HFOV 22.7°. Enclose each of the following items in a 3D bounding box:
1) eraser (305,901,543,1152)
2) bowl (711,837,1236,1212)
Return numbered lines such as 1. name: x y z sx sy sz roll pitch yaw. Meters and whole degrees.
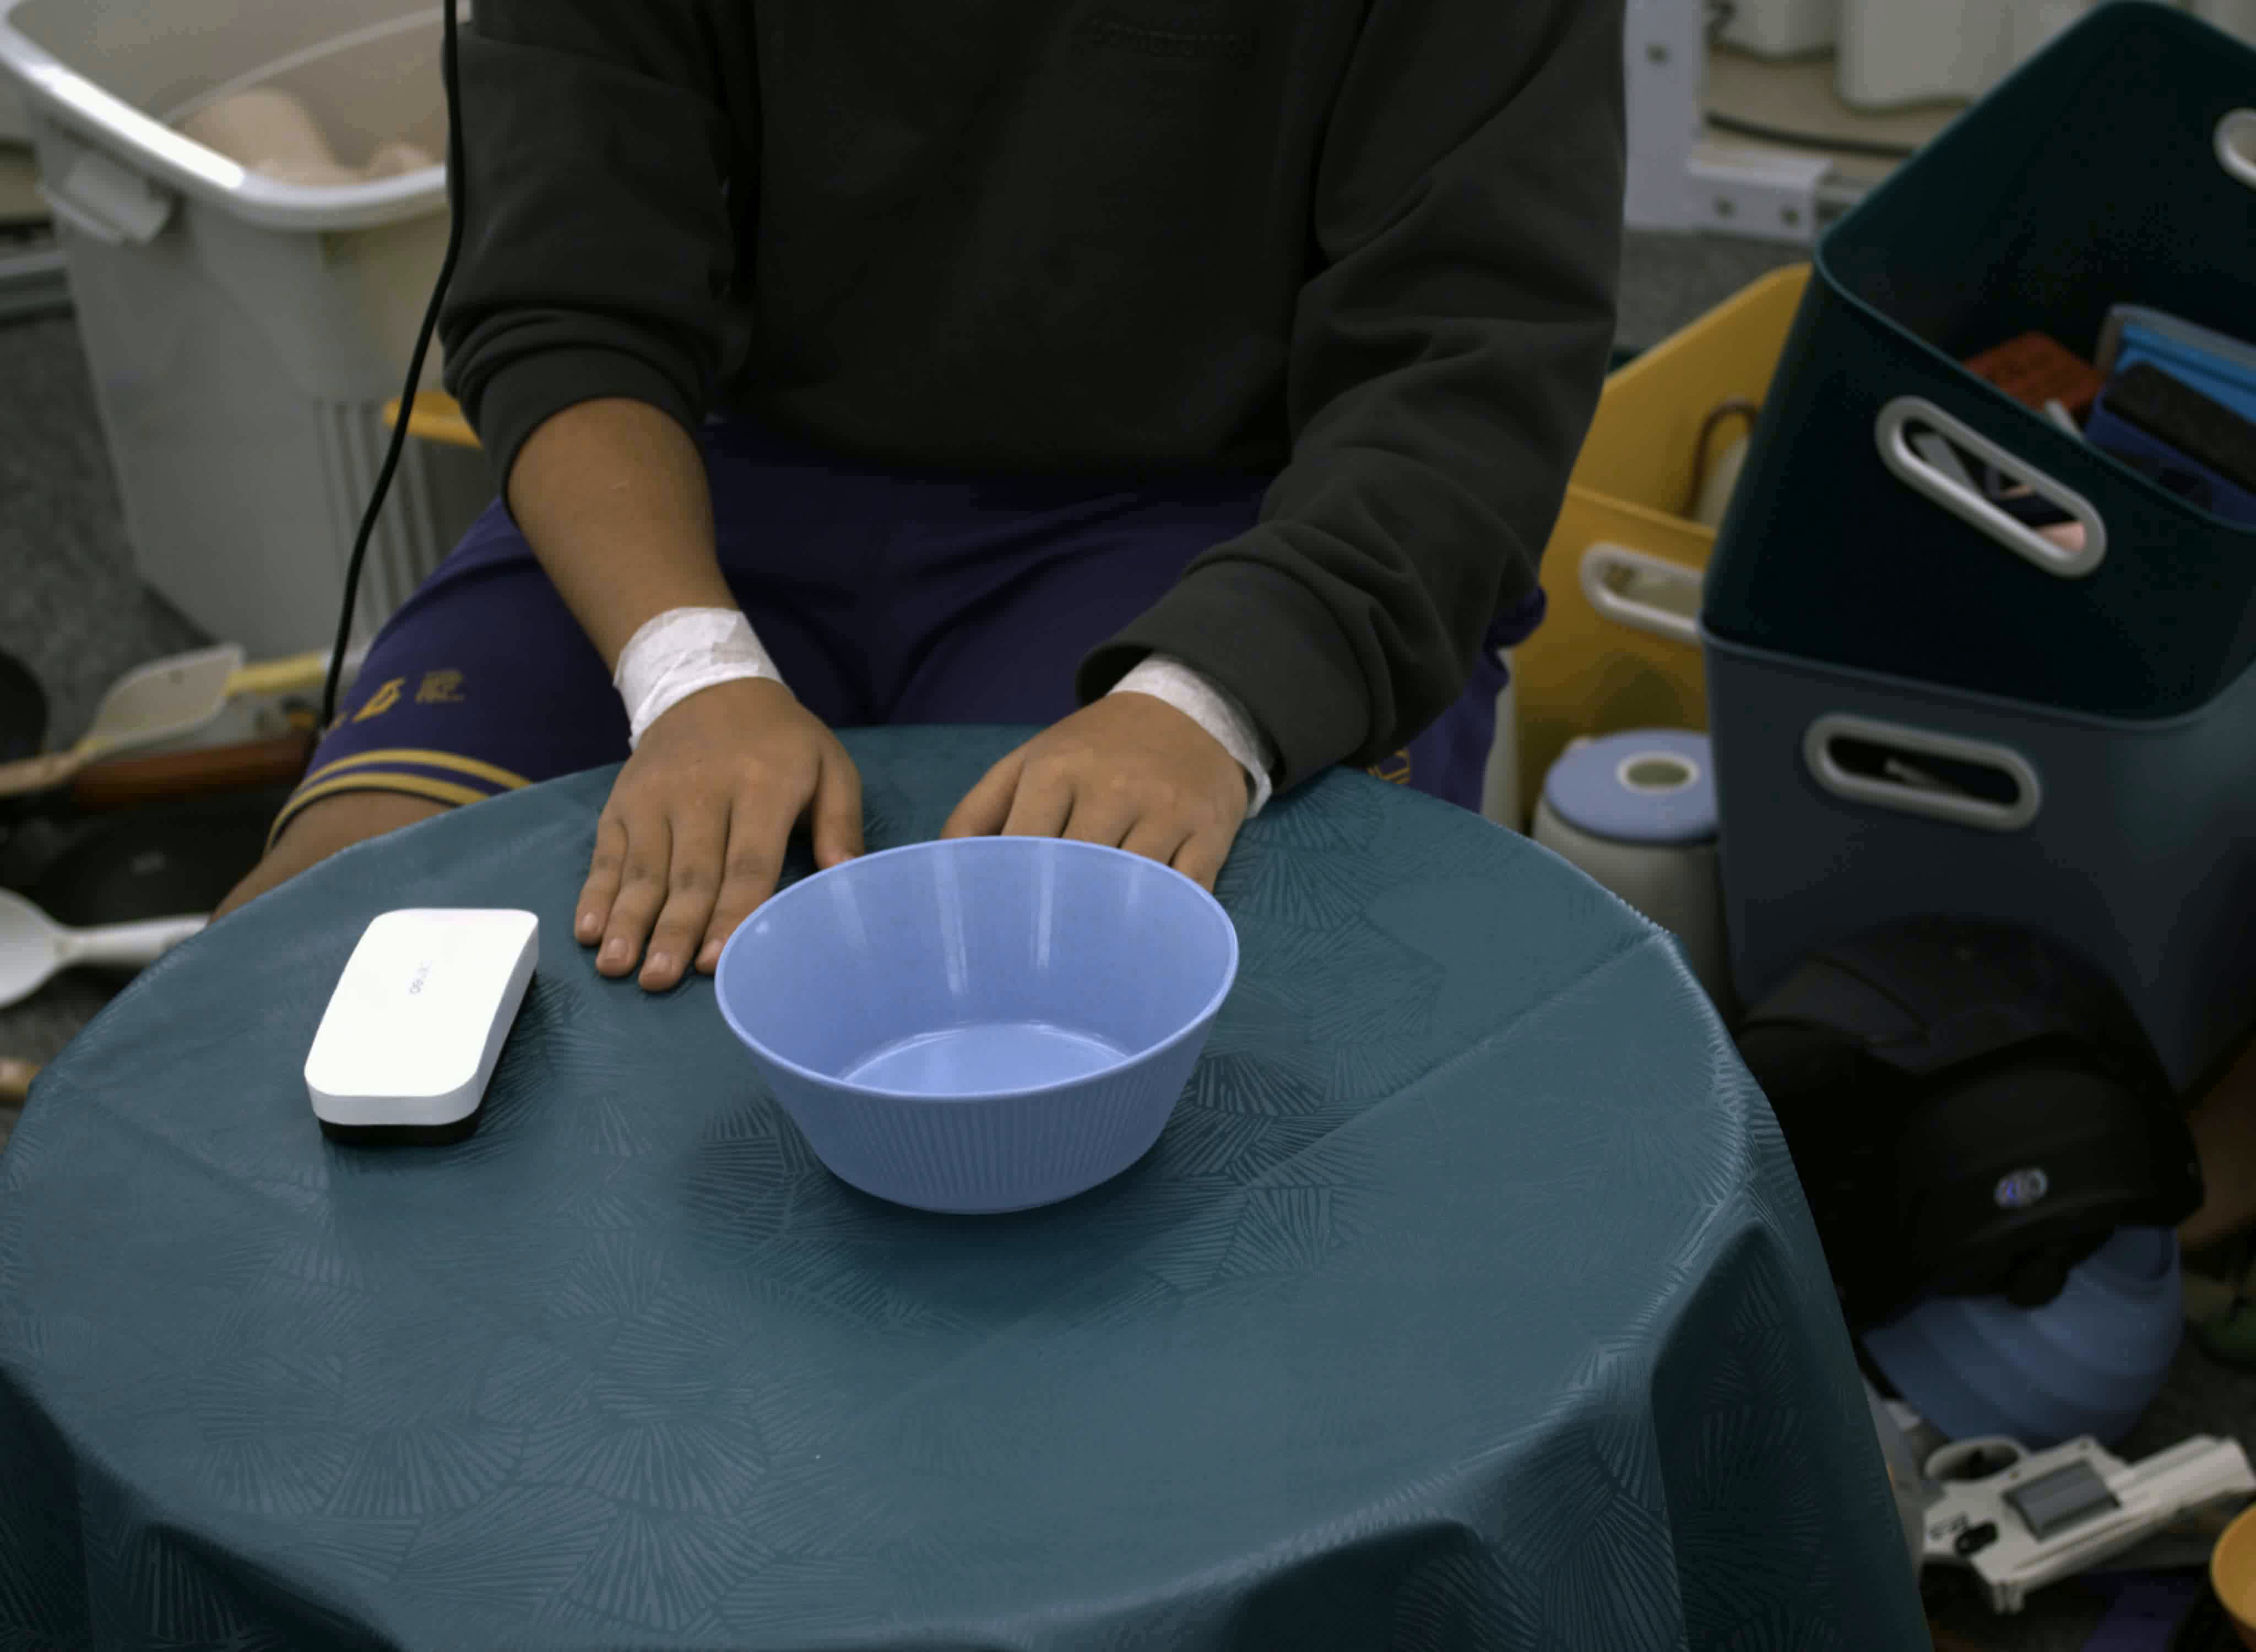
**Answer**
1. eraser: -0.242 0.067 1.958 0.063 0.034 0.133 2 30 8
2. bowl: -0.050 0.073 1.885 0.175 0.069 0.179 -2 28 1
